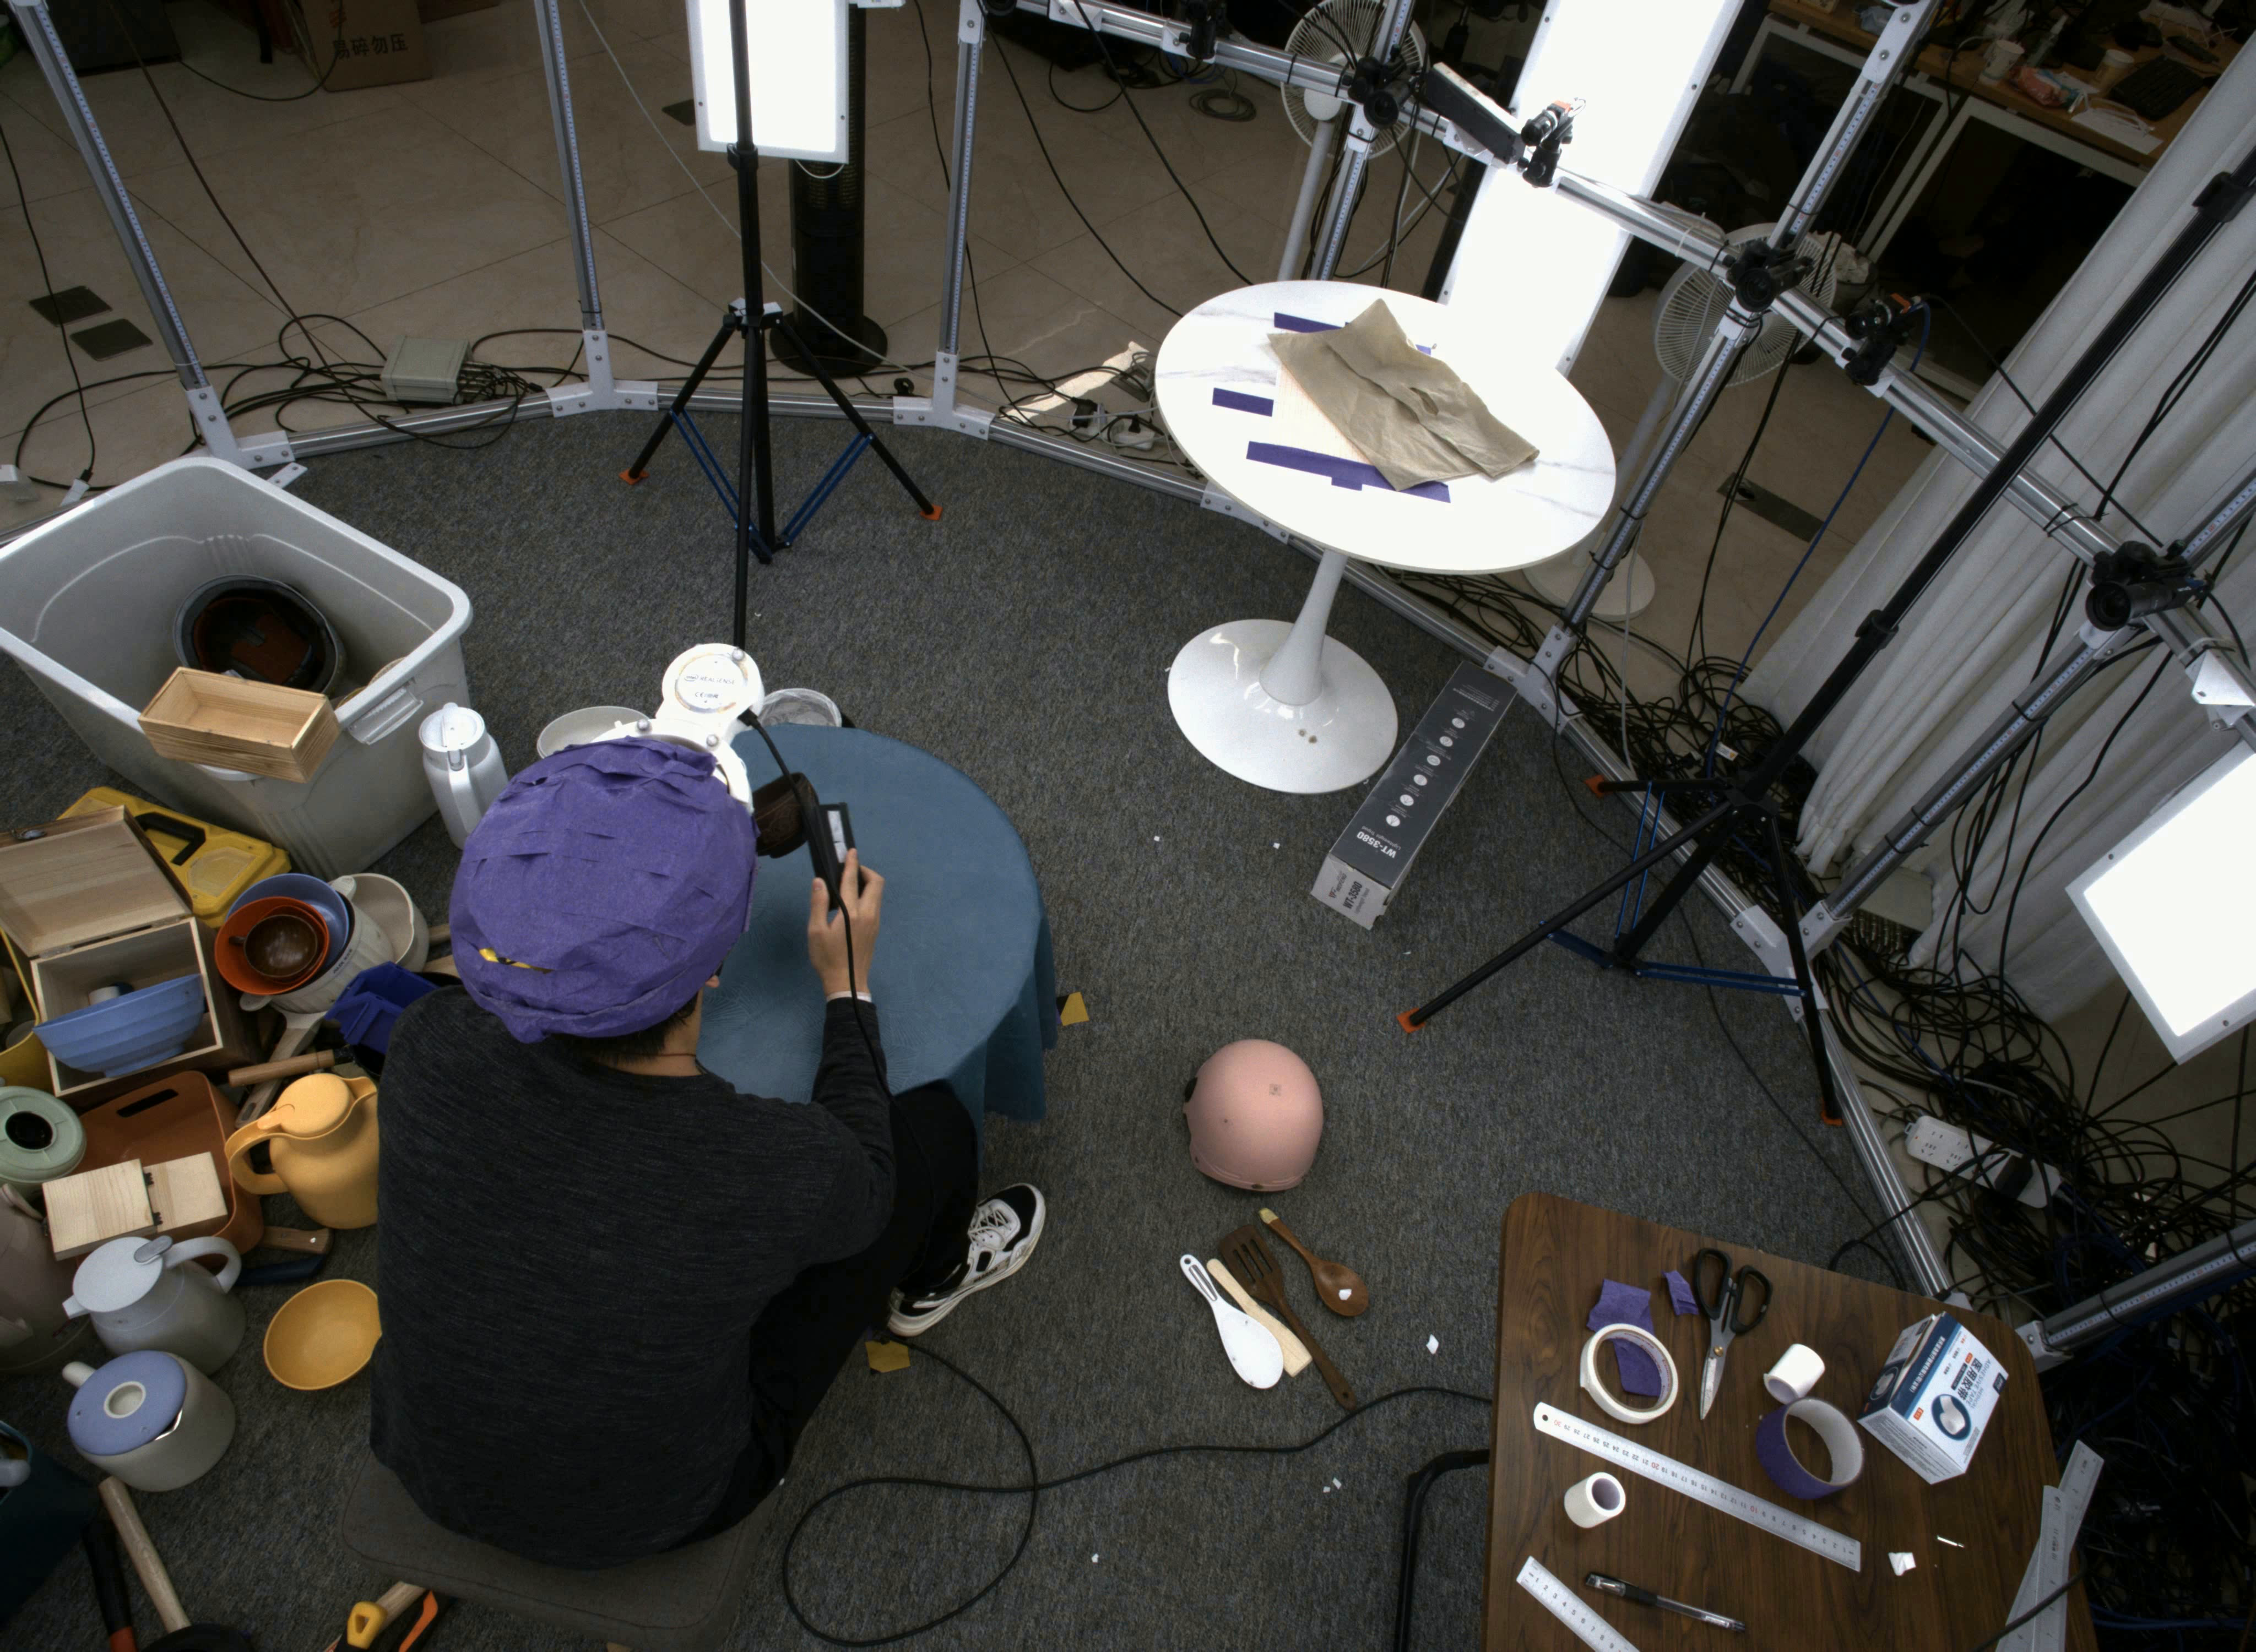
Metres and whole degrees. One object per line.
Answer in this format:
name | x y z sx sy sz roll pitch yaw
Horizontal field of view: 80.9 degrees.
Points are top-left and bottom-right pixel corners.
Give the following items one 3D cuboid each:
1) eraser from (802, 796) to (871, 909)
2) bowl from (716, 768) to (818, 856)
eraser | -0.339 0.030 1.509 0.054 0.030 0.127 -13 89 -53
bowl | -0.419 -0.010 1.531 0.116 0.072 0.116 -21 23 11
